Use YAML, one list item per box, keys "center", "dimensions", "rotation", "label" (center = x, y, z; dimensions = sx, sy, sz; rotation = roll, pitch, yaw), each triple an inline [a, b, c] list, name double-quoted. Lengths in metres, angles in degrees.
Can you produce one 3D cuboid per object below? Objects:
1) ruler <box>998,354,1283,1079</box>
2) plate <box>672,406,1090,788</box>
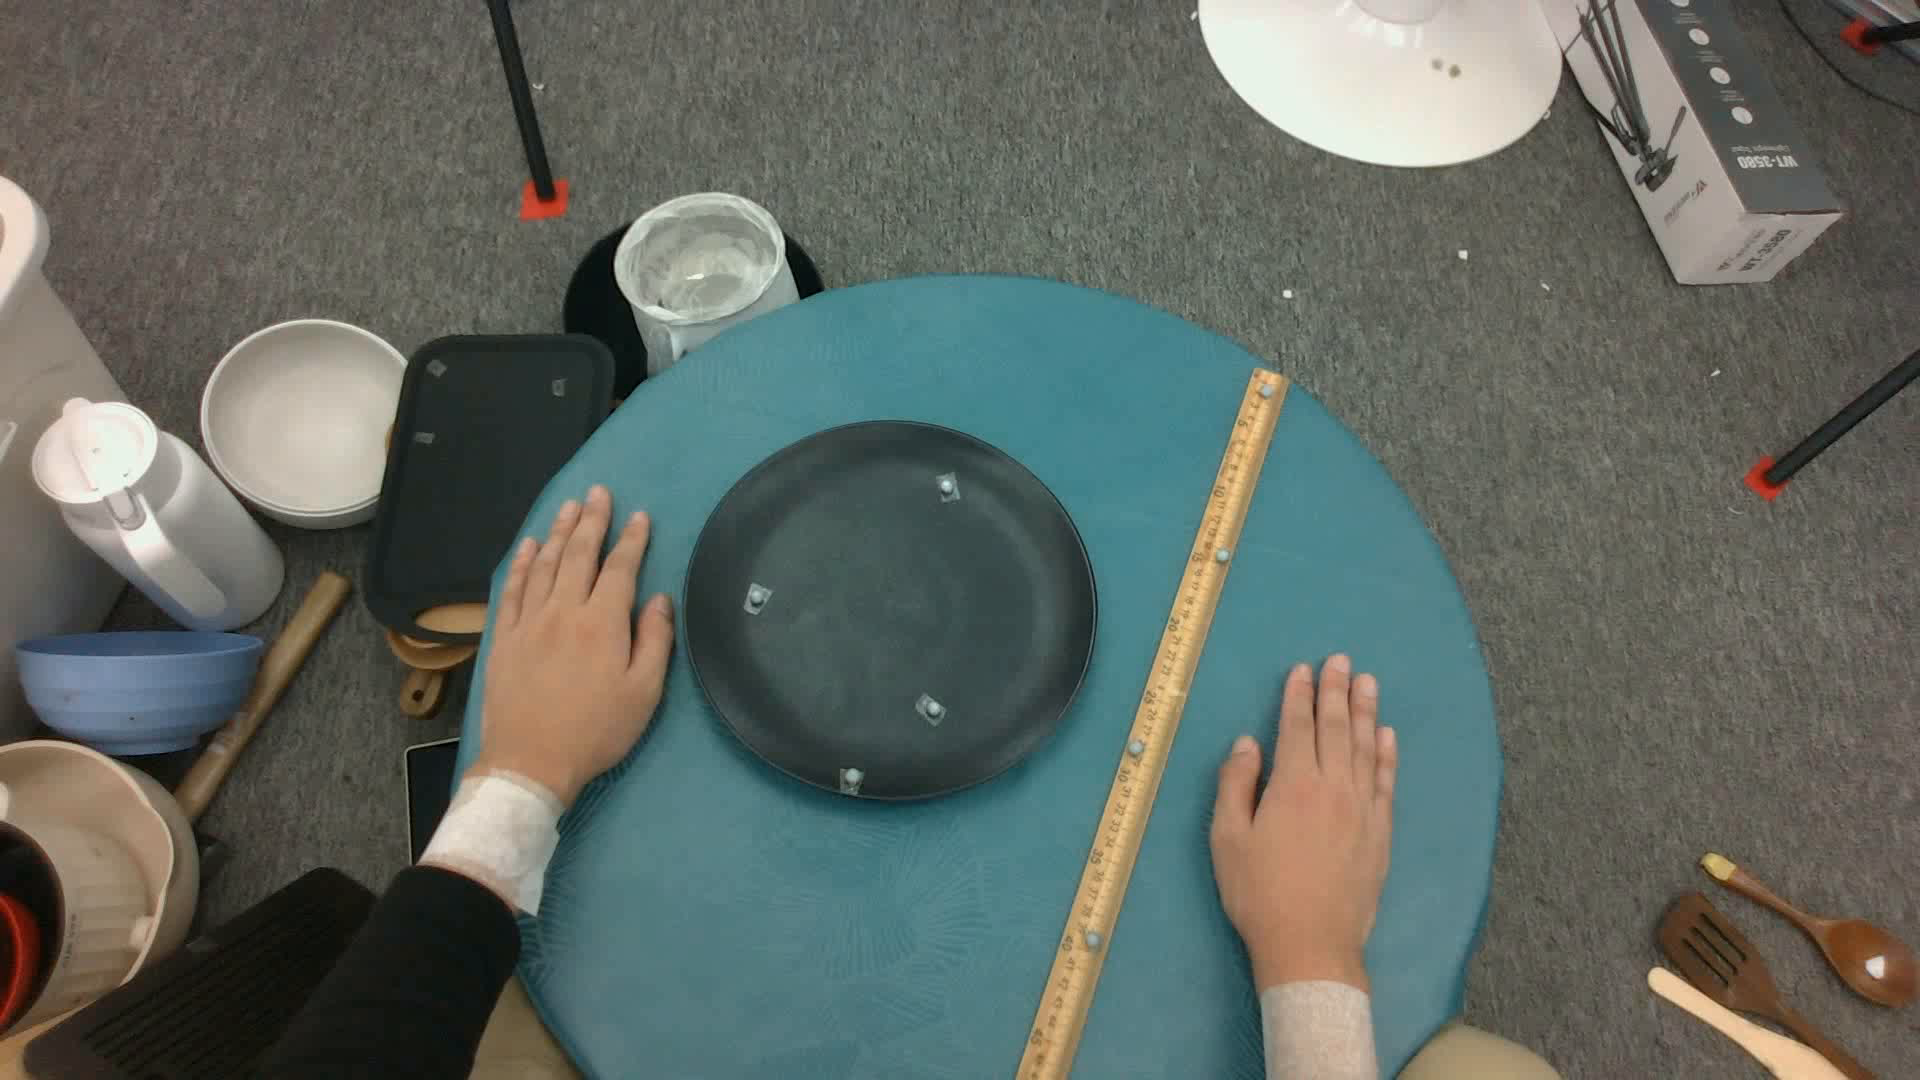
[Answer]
- center: [0.114, 0.087, 0.808]
  dimensions: [0.027, 0.006, 0.502]
  rotation: [20, 64, 7]
  label: "ruler"
- center: [-0.045, 0.030, 0.812]
  dimensions: [0.244, 0.023, 0.245]
  rotation: [2, 64, -4]
  label: "plate"
